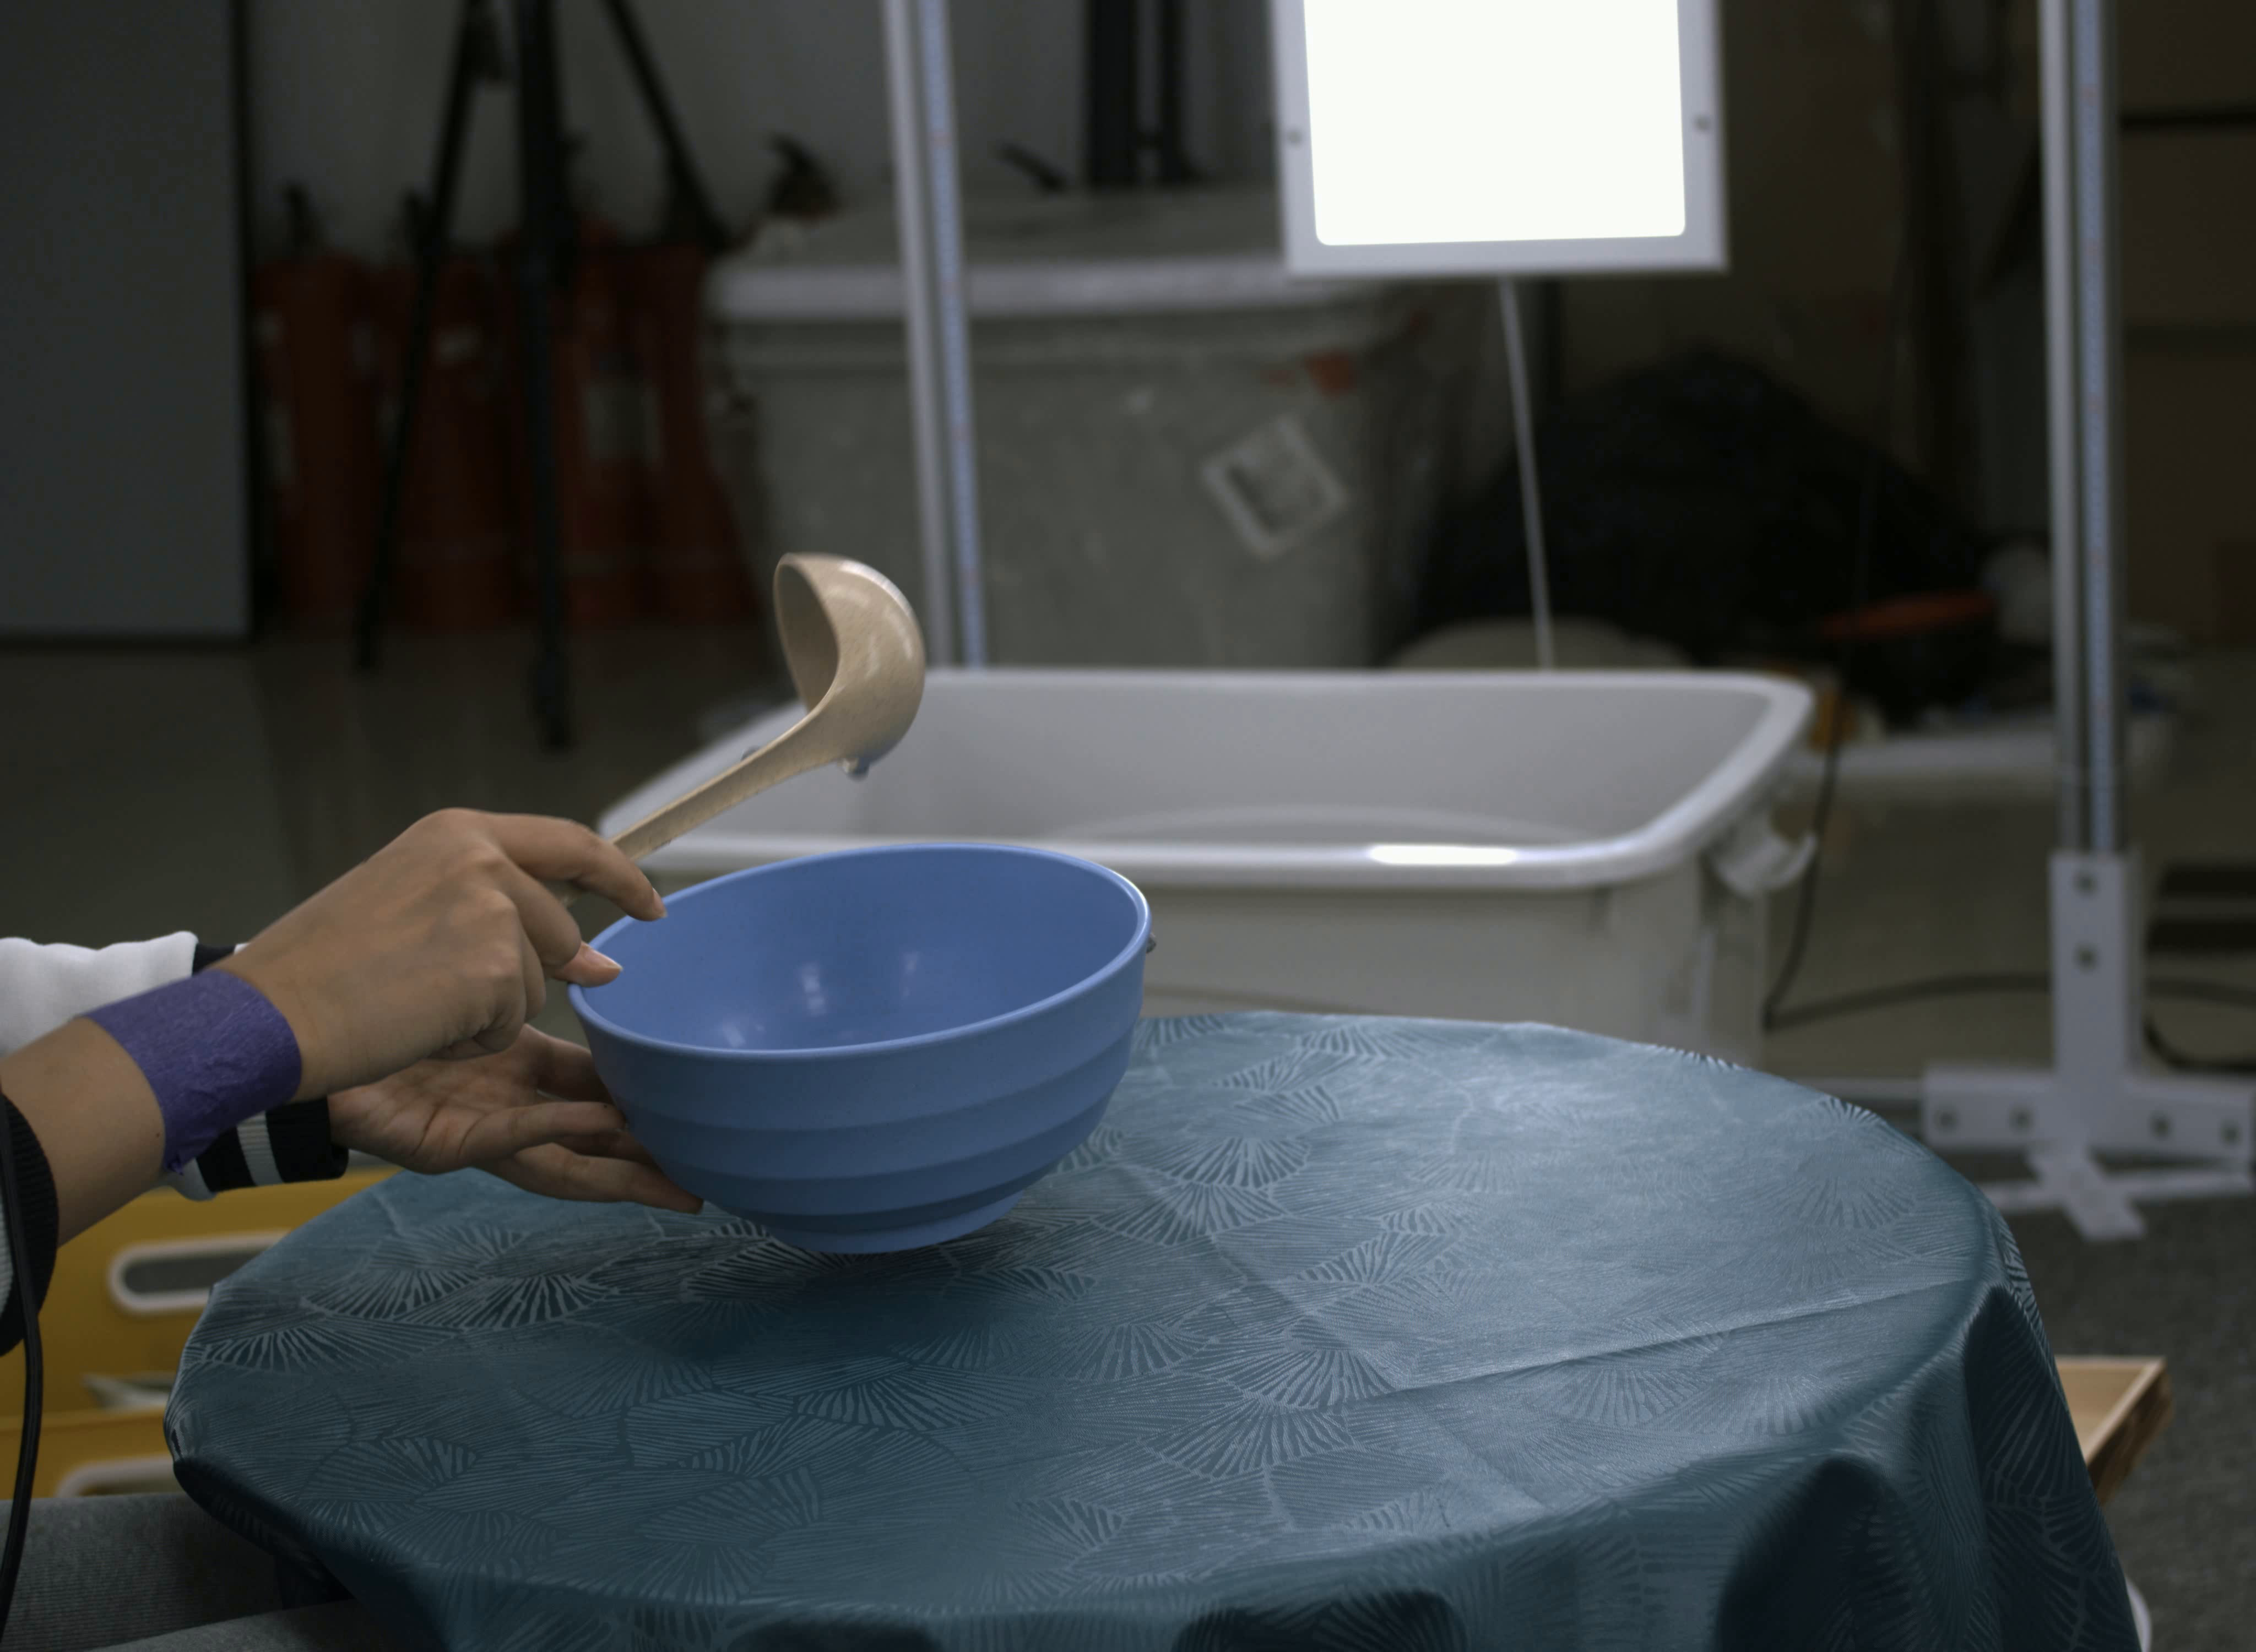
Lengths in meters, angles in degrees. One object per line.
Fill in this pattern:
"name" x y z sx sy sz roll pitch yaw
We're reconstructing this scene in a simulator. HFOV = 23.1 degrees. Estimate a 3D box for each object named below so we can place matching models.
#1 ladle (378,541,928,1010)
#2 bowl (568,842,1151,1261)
"ladle" -0.163 -0.014 1.728 0.074 0.072 0.249 23 42 38
"bowl" -0.085 0.084 1.856 0.196 0.096 0.196 -6 20 1
